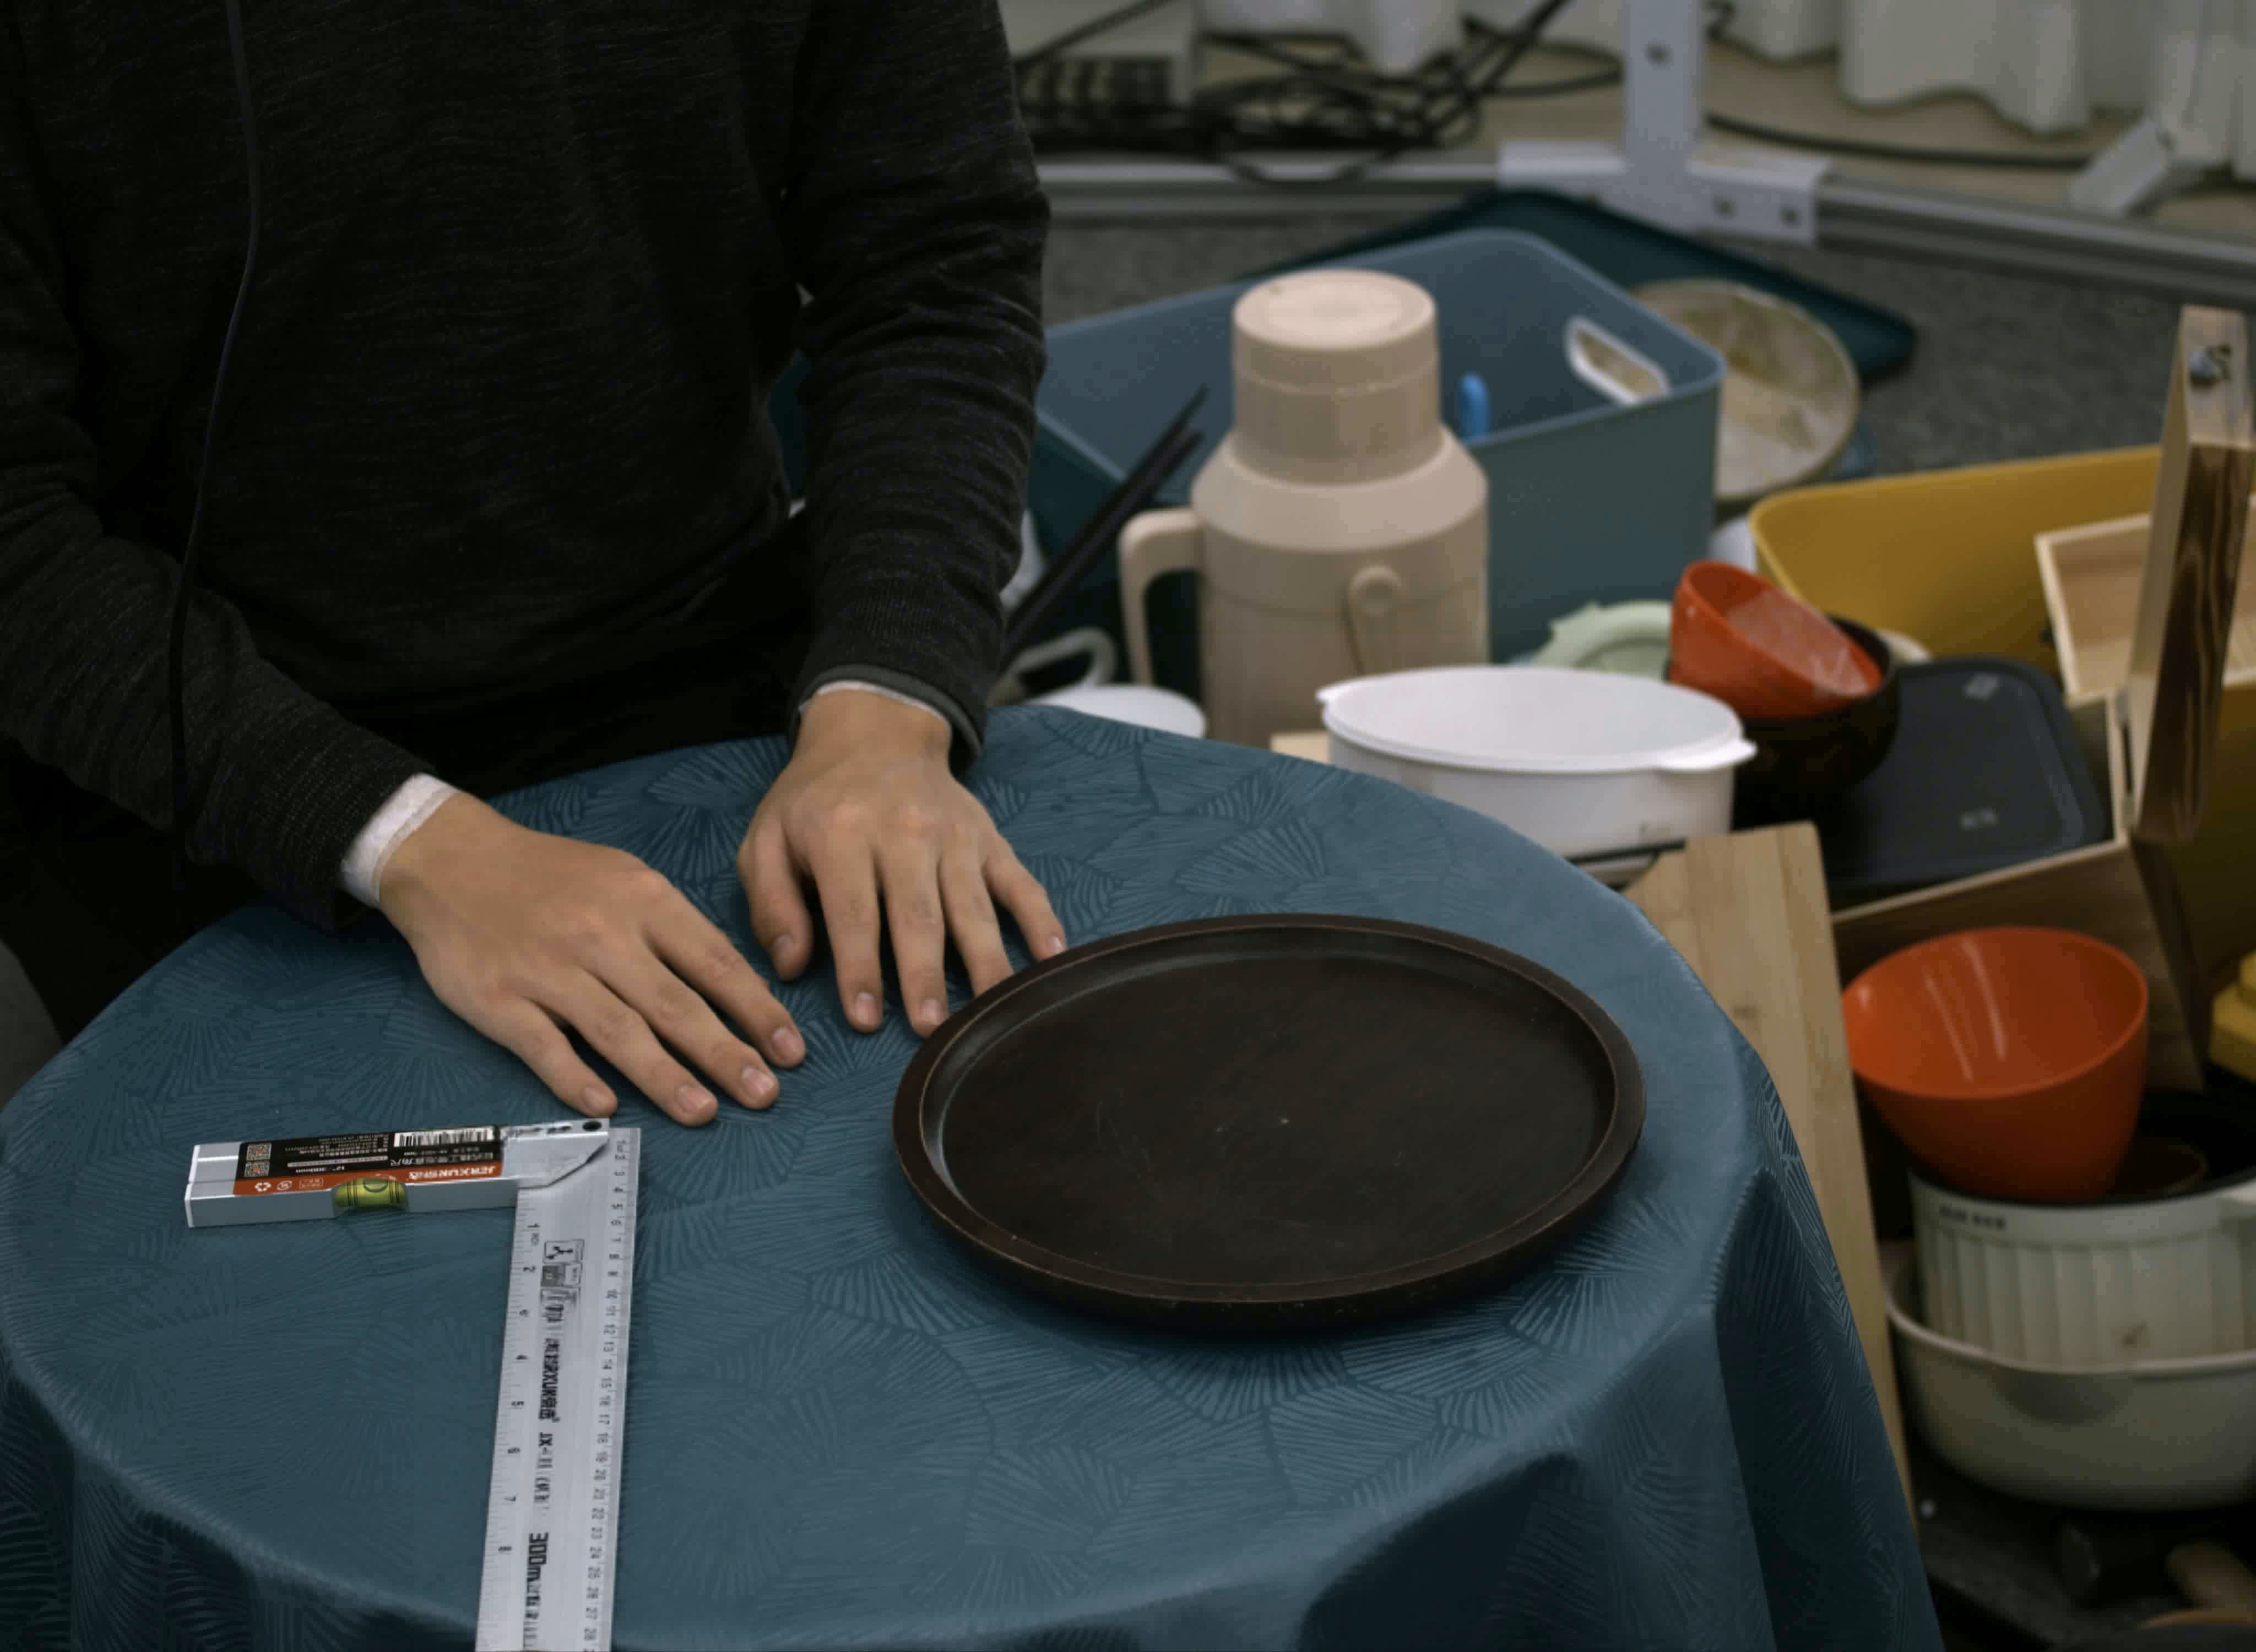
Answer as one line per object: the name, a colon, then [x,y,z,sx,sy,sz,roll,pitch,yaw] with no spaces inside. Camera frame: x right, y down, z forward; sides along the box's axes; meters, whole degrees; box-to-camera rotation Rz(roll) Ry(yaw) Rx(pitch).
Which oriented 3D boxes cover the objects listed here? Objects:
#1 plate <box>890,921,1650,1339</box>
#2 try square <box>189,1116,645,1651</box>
plate: [0.047,0.099,1.875,0.253,0.029,0.259,-2,28,2]
try square: [-0.232,0.182,1.761,0.151,0.016,0.317,-4,28,-1]
